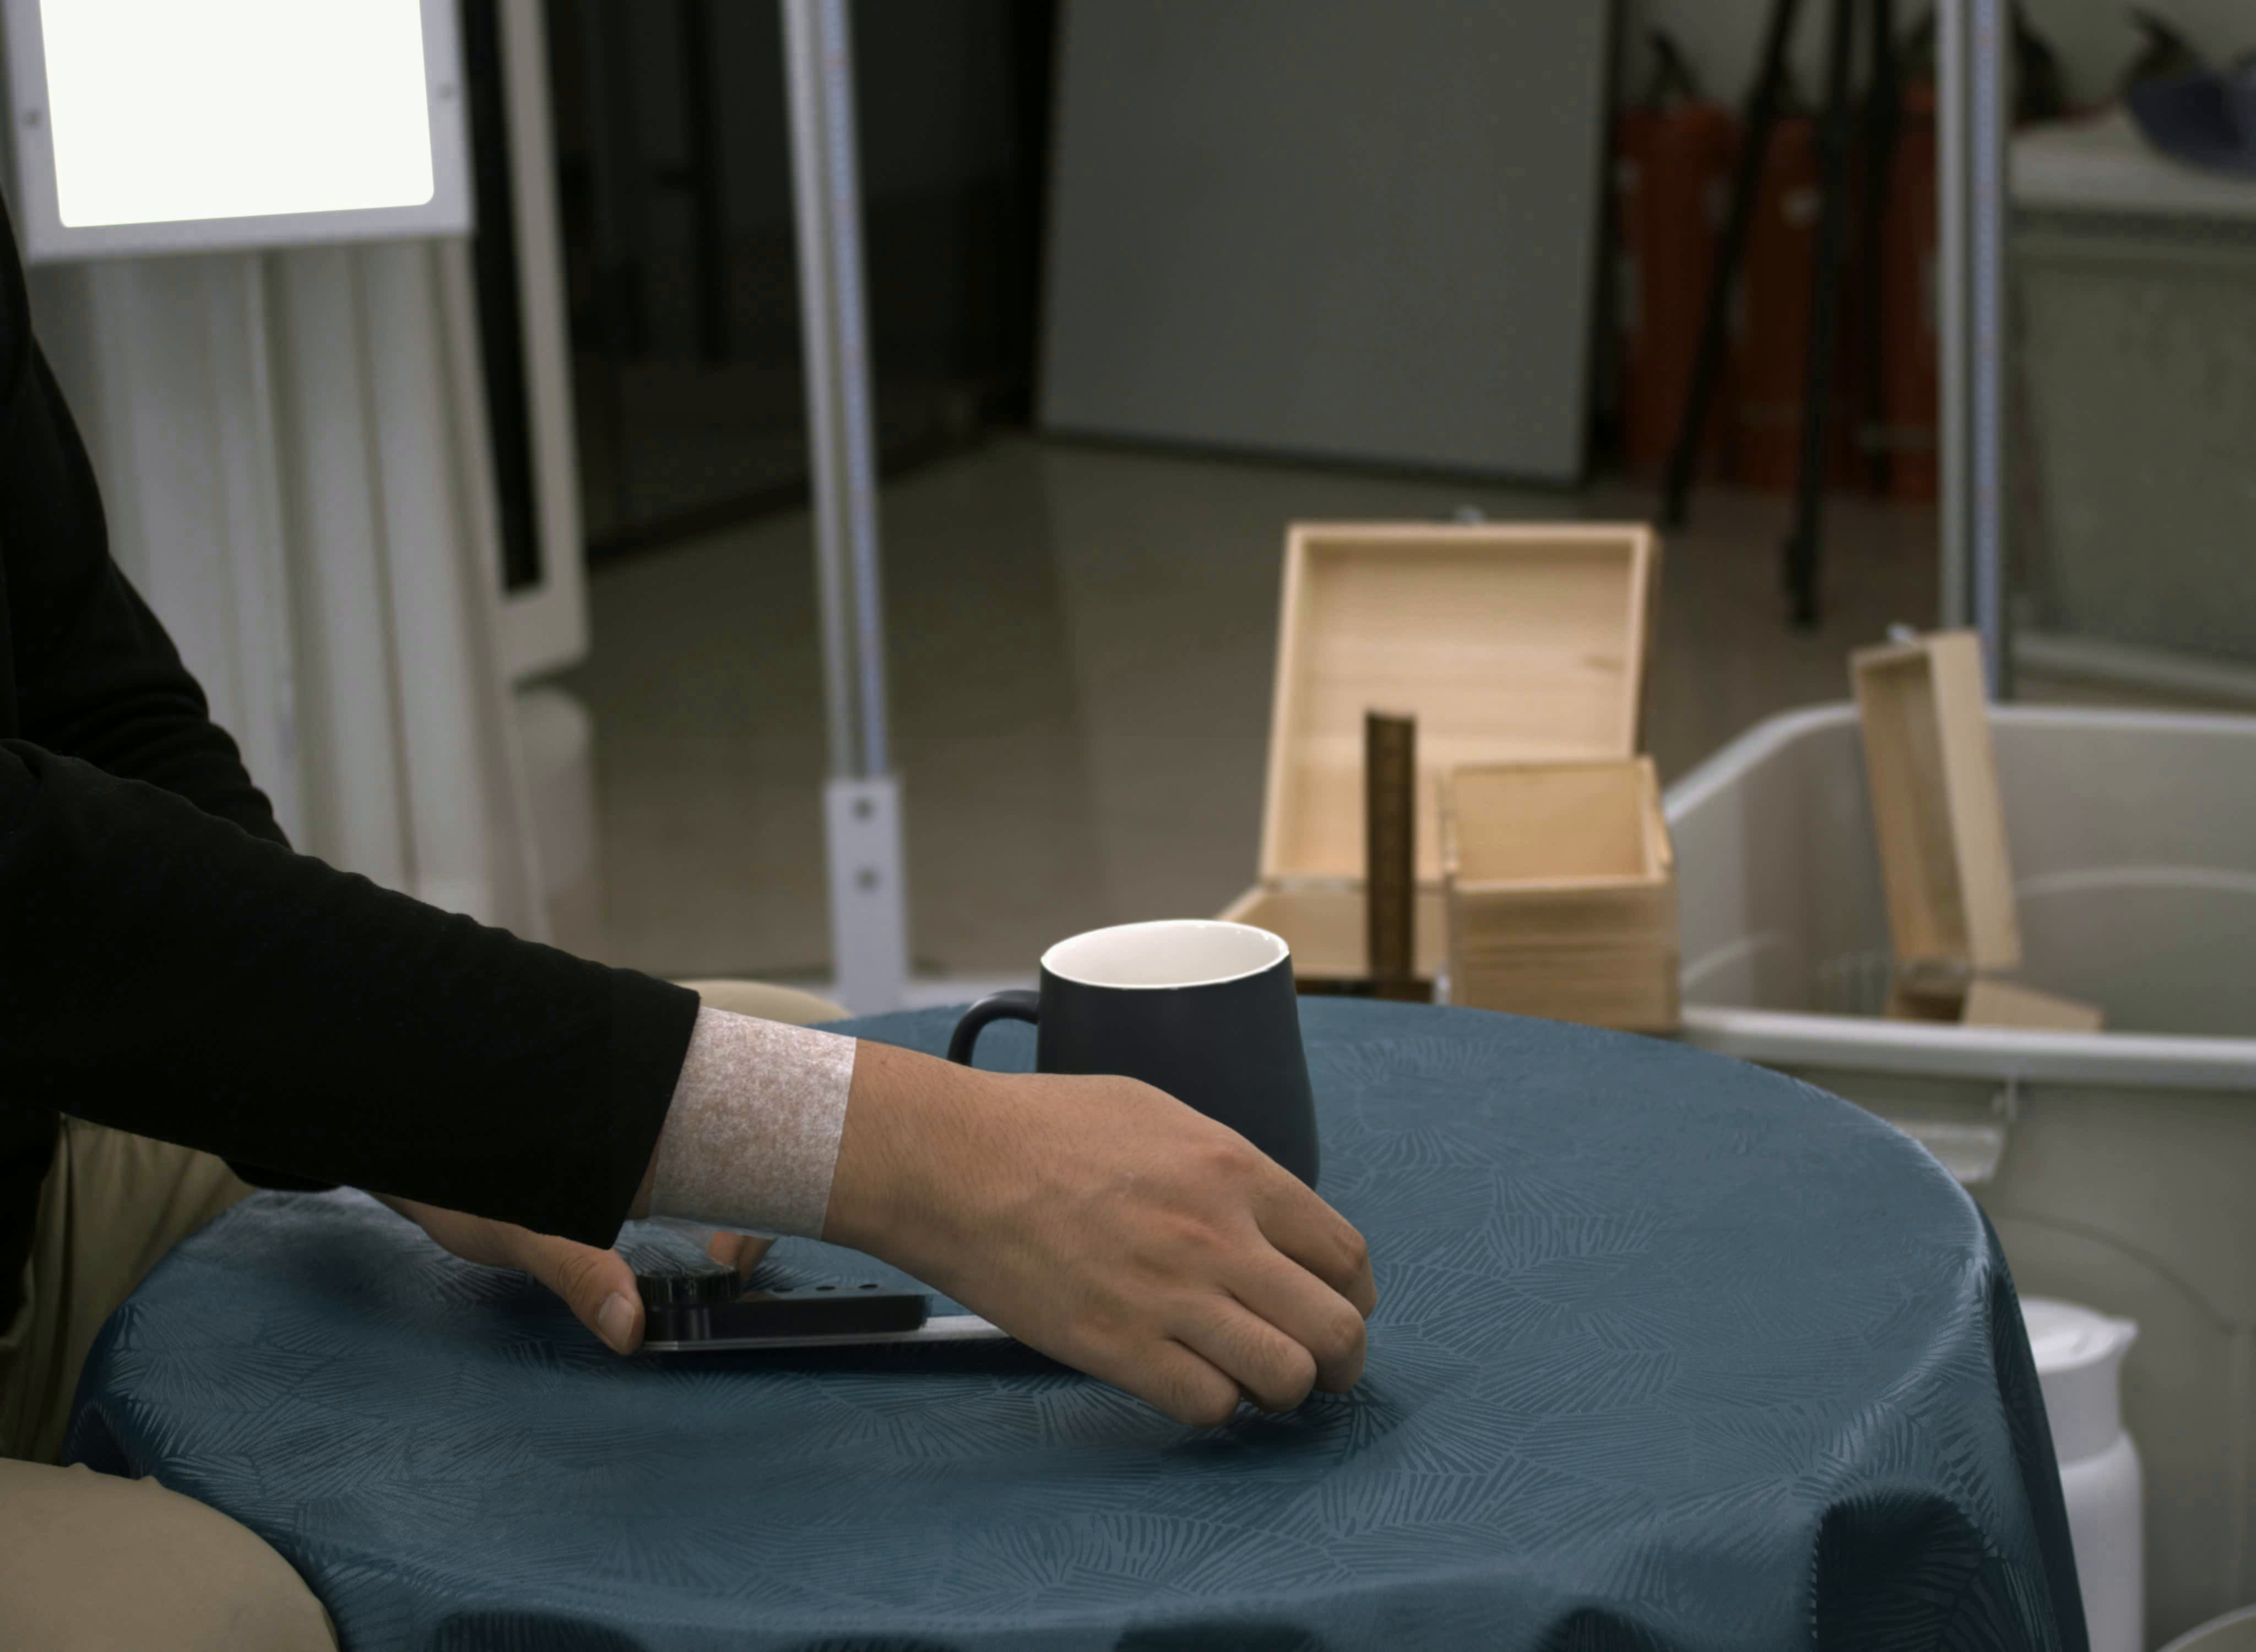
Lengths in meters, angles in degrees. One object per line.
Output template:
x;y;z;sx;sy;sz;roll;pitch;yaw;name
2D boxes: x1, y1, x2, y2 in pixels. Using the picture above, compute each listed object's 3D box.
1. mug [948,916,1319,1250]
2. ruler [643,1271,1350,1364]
0.000;0.081;1.734;0.123;0.091;0.092;2;14;19;mug
-0.042;0.140;1.621;0.217;0.024;0.038;-6;6;13;ruler
